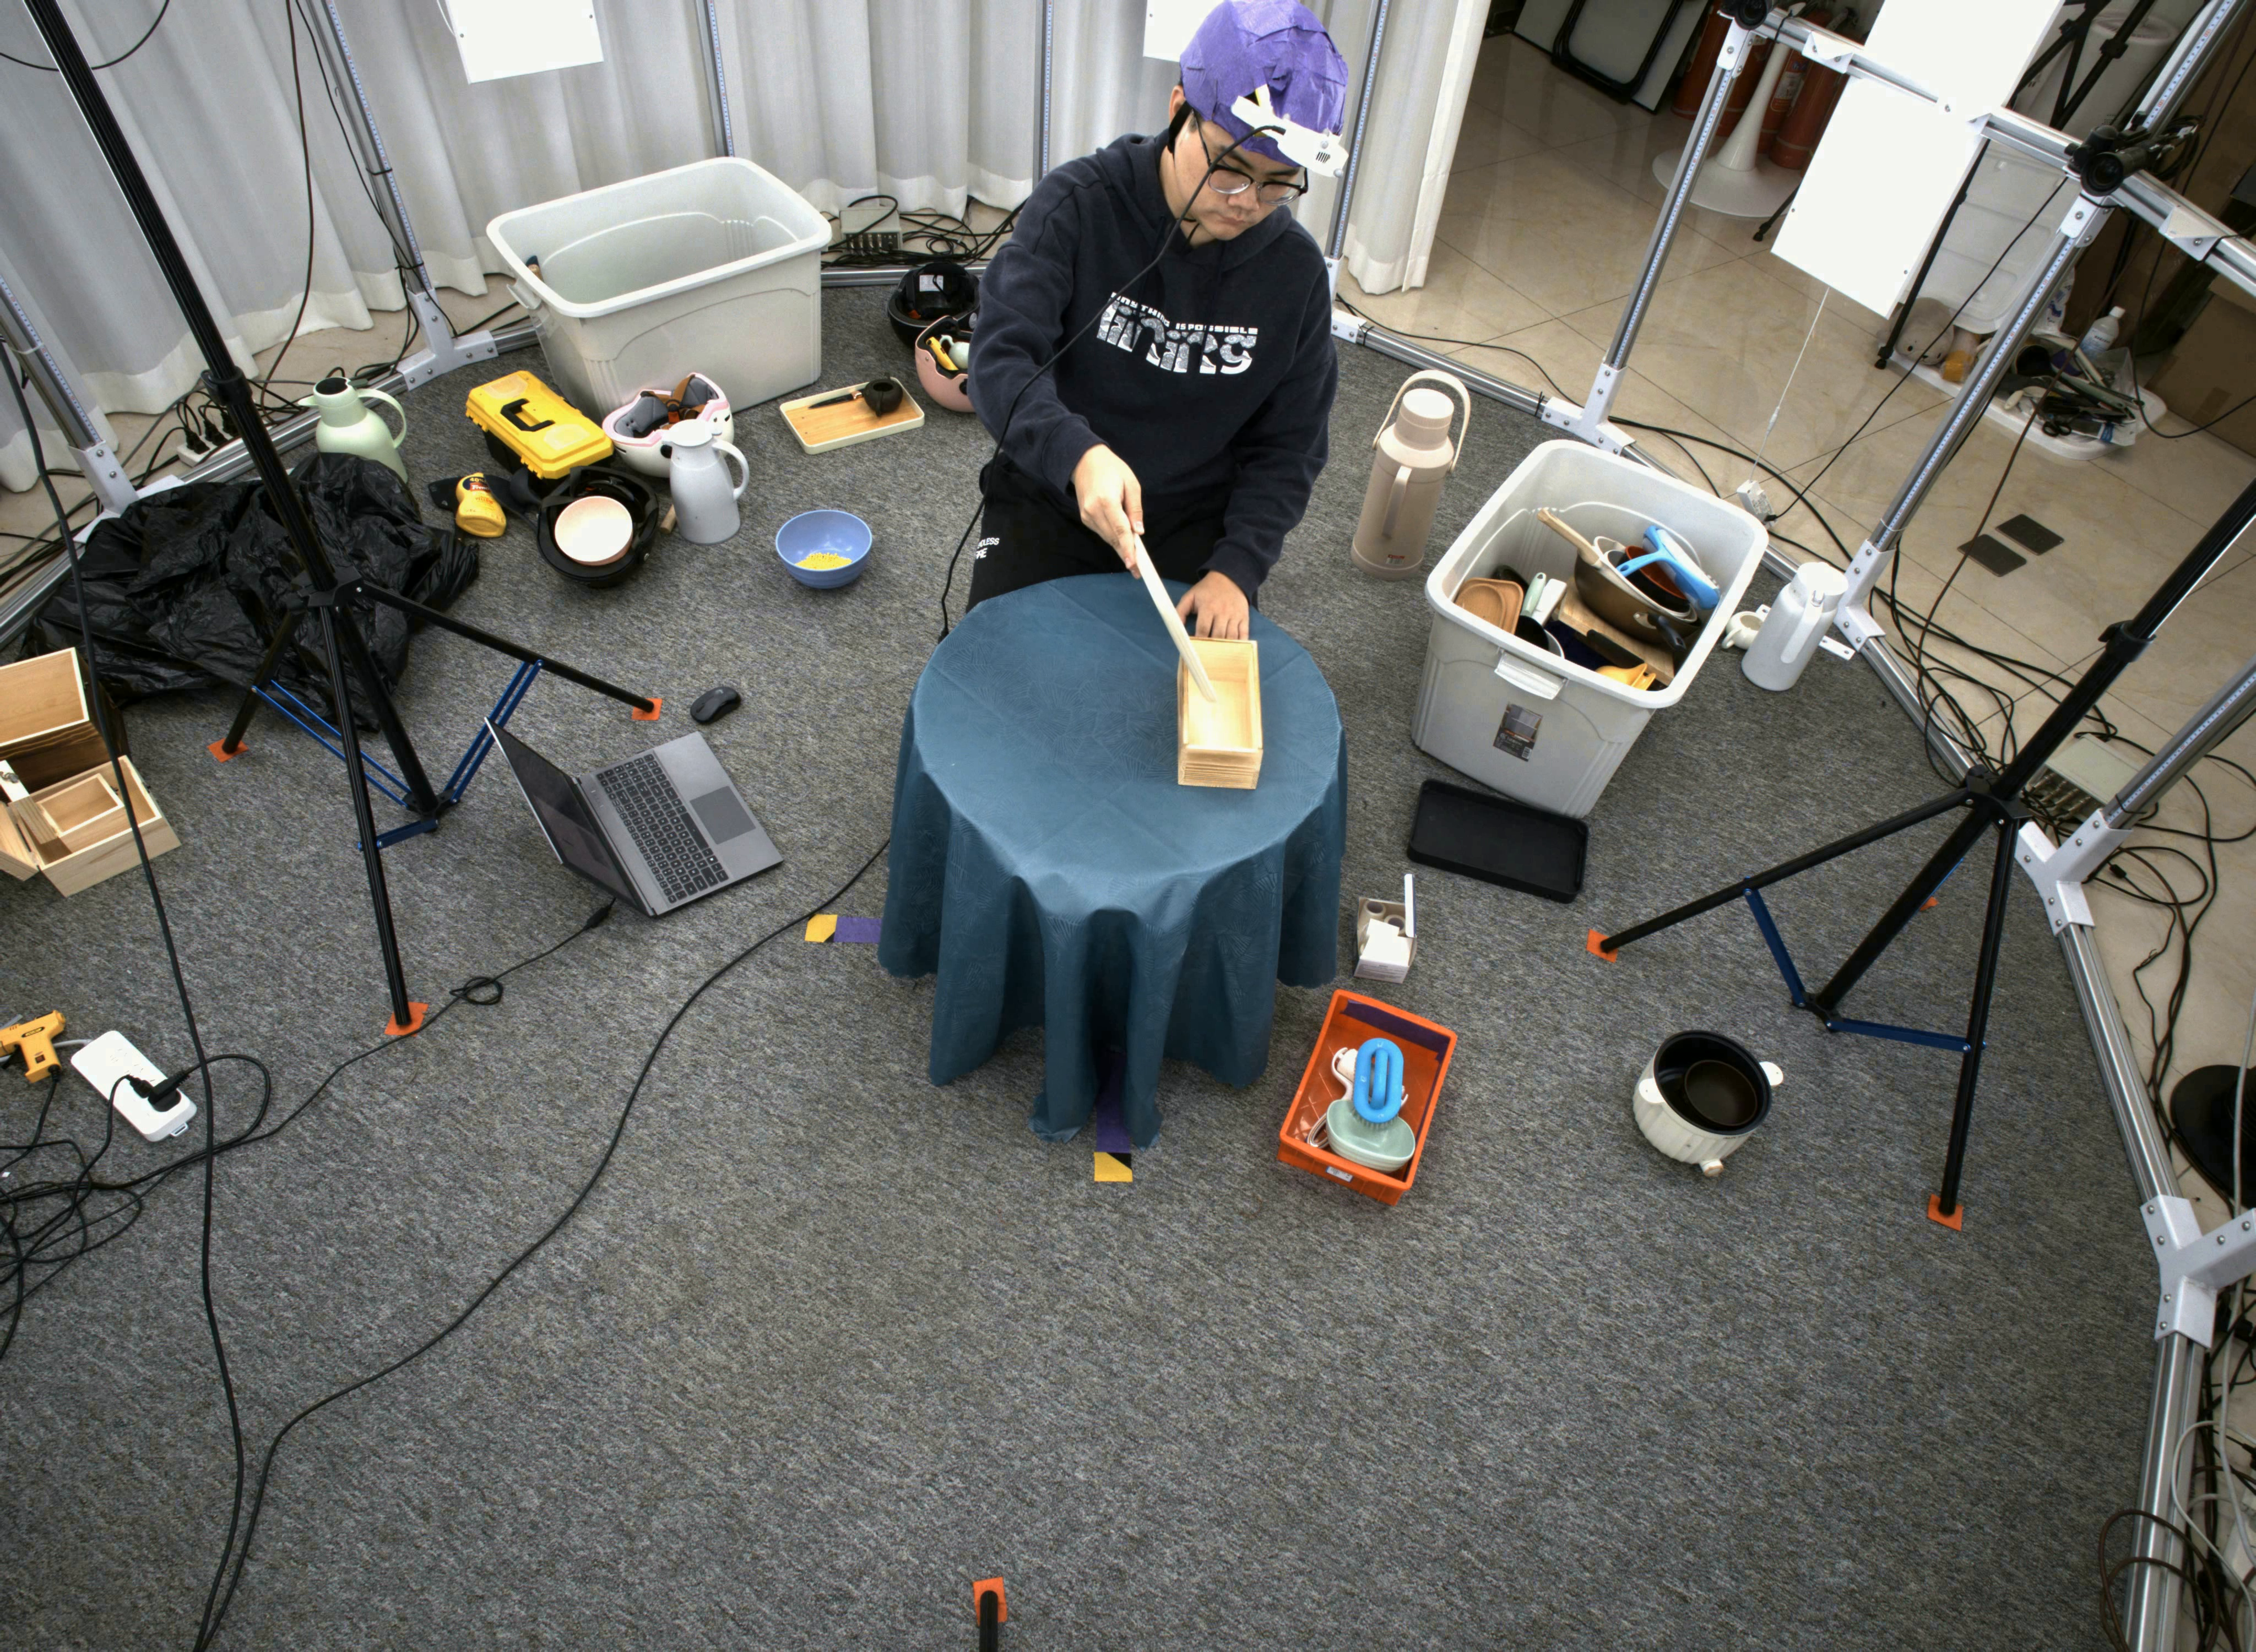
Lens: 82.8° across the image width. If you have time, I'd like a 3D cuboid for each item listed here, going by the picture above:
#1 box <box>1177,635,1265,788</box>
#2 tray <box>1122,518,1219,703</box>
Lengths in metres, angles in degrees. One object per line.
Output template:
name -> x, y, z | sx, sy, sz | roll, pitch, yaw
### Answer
box -> 0.125, -0.160, 1.762 | 0.107, 0.078, 0.217 | 3, 49, -2
tray -> 0.054, -0.271, 1.644 | 0.017, 0.234, 0.175 | -27, 53, 6
